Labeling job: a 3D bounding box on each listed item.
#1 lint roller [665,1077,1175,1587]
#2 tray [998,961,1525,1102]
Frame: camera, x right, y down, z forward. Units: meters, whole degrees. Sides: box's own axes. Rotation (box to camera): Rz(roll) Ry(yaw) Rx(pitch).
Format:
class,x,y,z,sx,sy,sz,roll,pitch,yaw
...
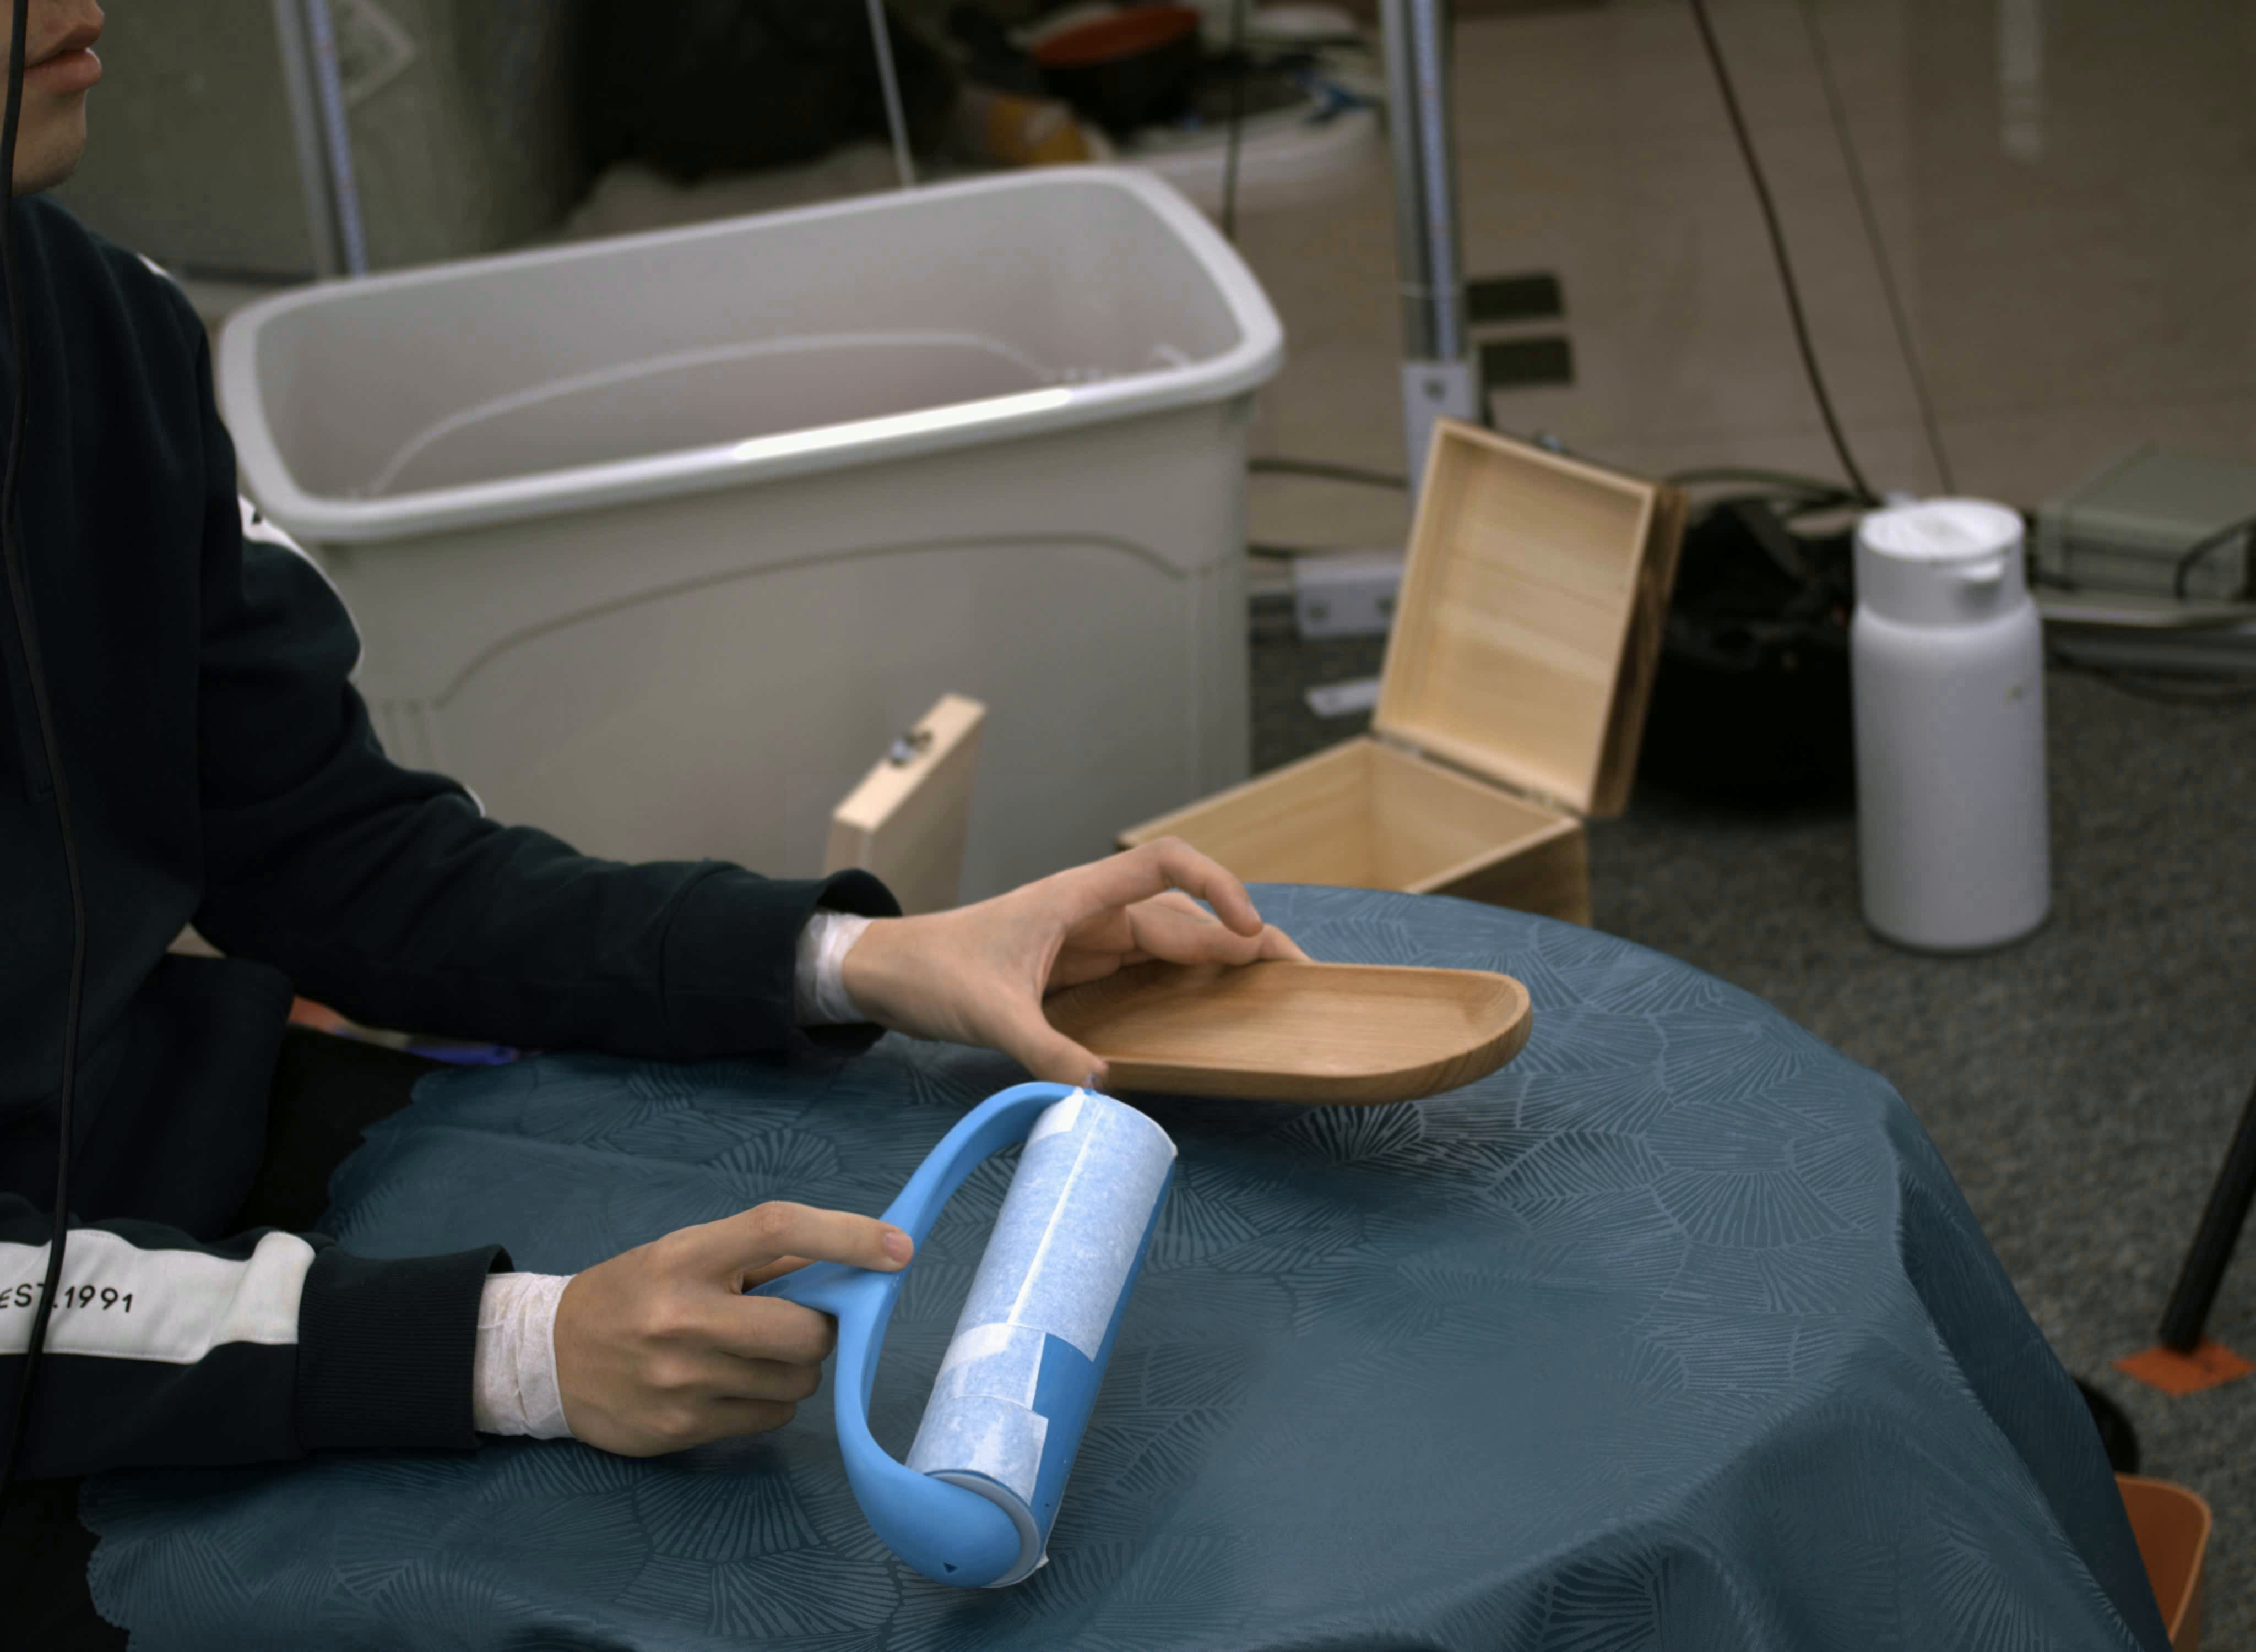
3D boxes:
class,x,y,z,sx,sy,sz,roll,pitch,yaw
lint roller,-0.087,0.178,1.974,0.180,0.069,0.225,-6,39,18
tray,0.050,0.079,2.178,0.231,0.020,0.101,-1,20,40
